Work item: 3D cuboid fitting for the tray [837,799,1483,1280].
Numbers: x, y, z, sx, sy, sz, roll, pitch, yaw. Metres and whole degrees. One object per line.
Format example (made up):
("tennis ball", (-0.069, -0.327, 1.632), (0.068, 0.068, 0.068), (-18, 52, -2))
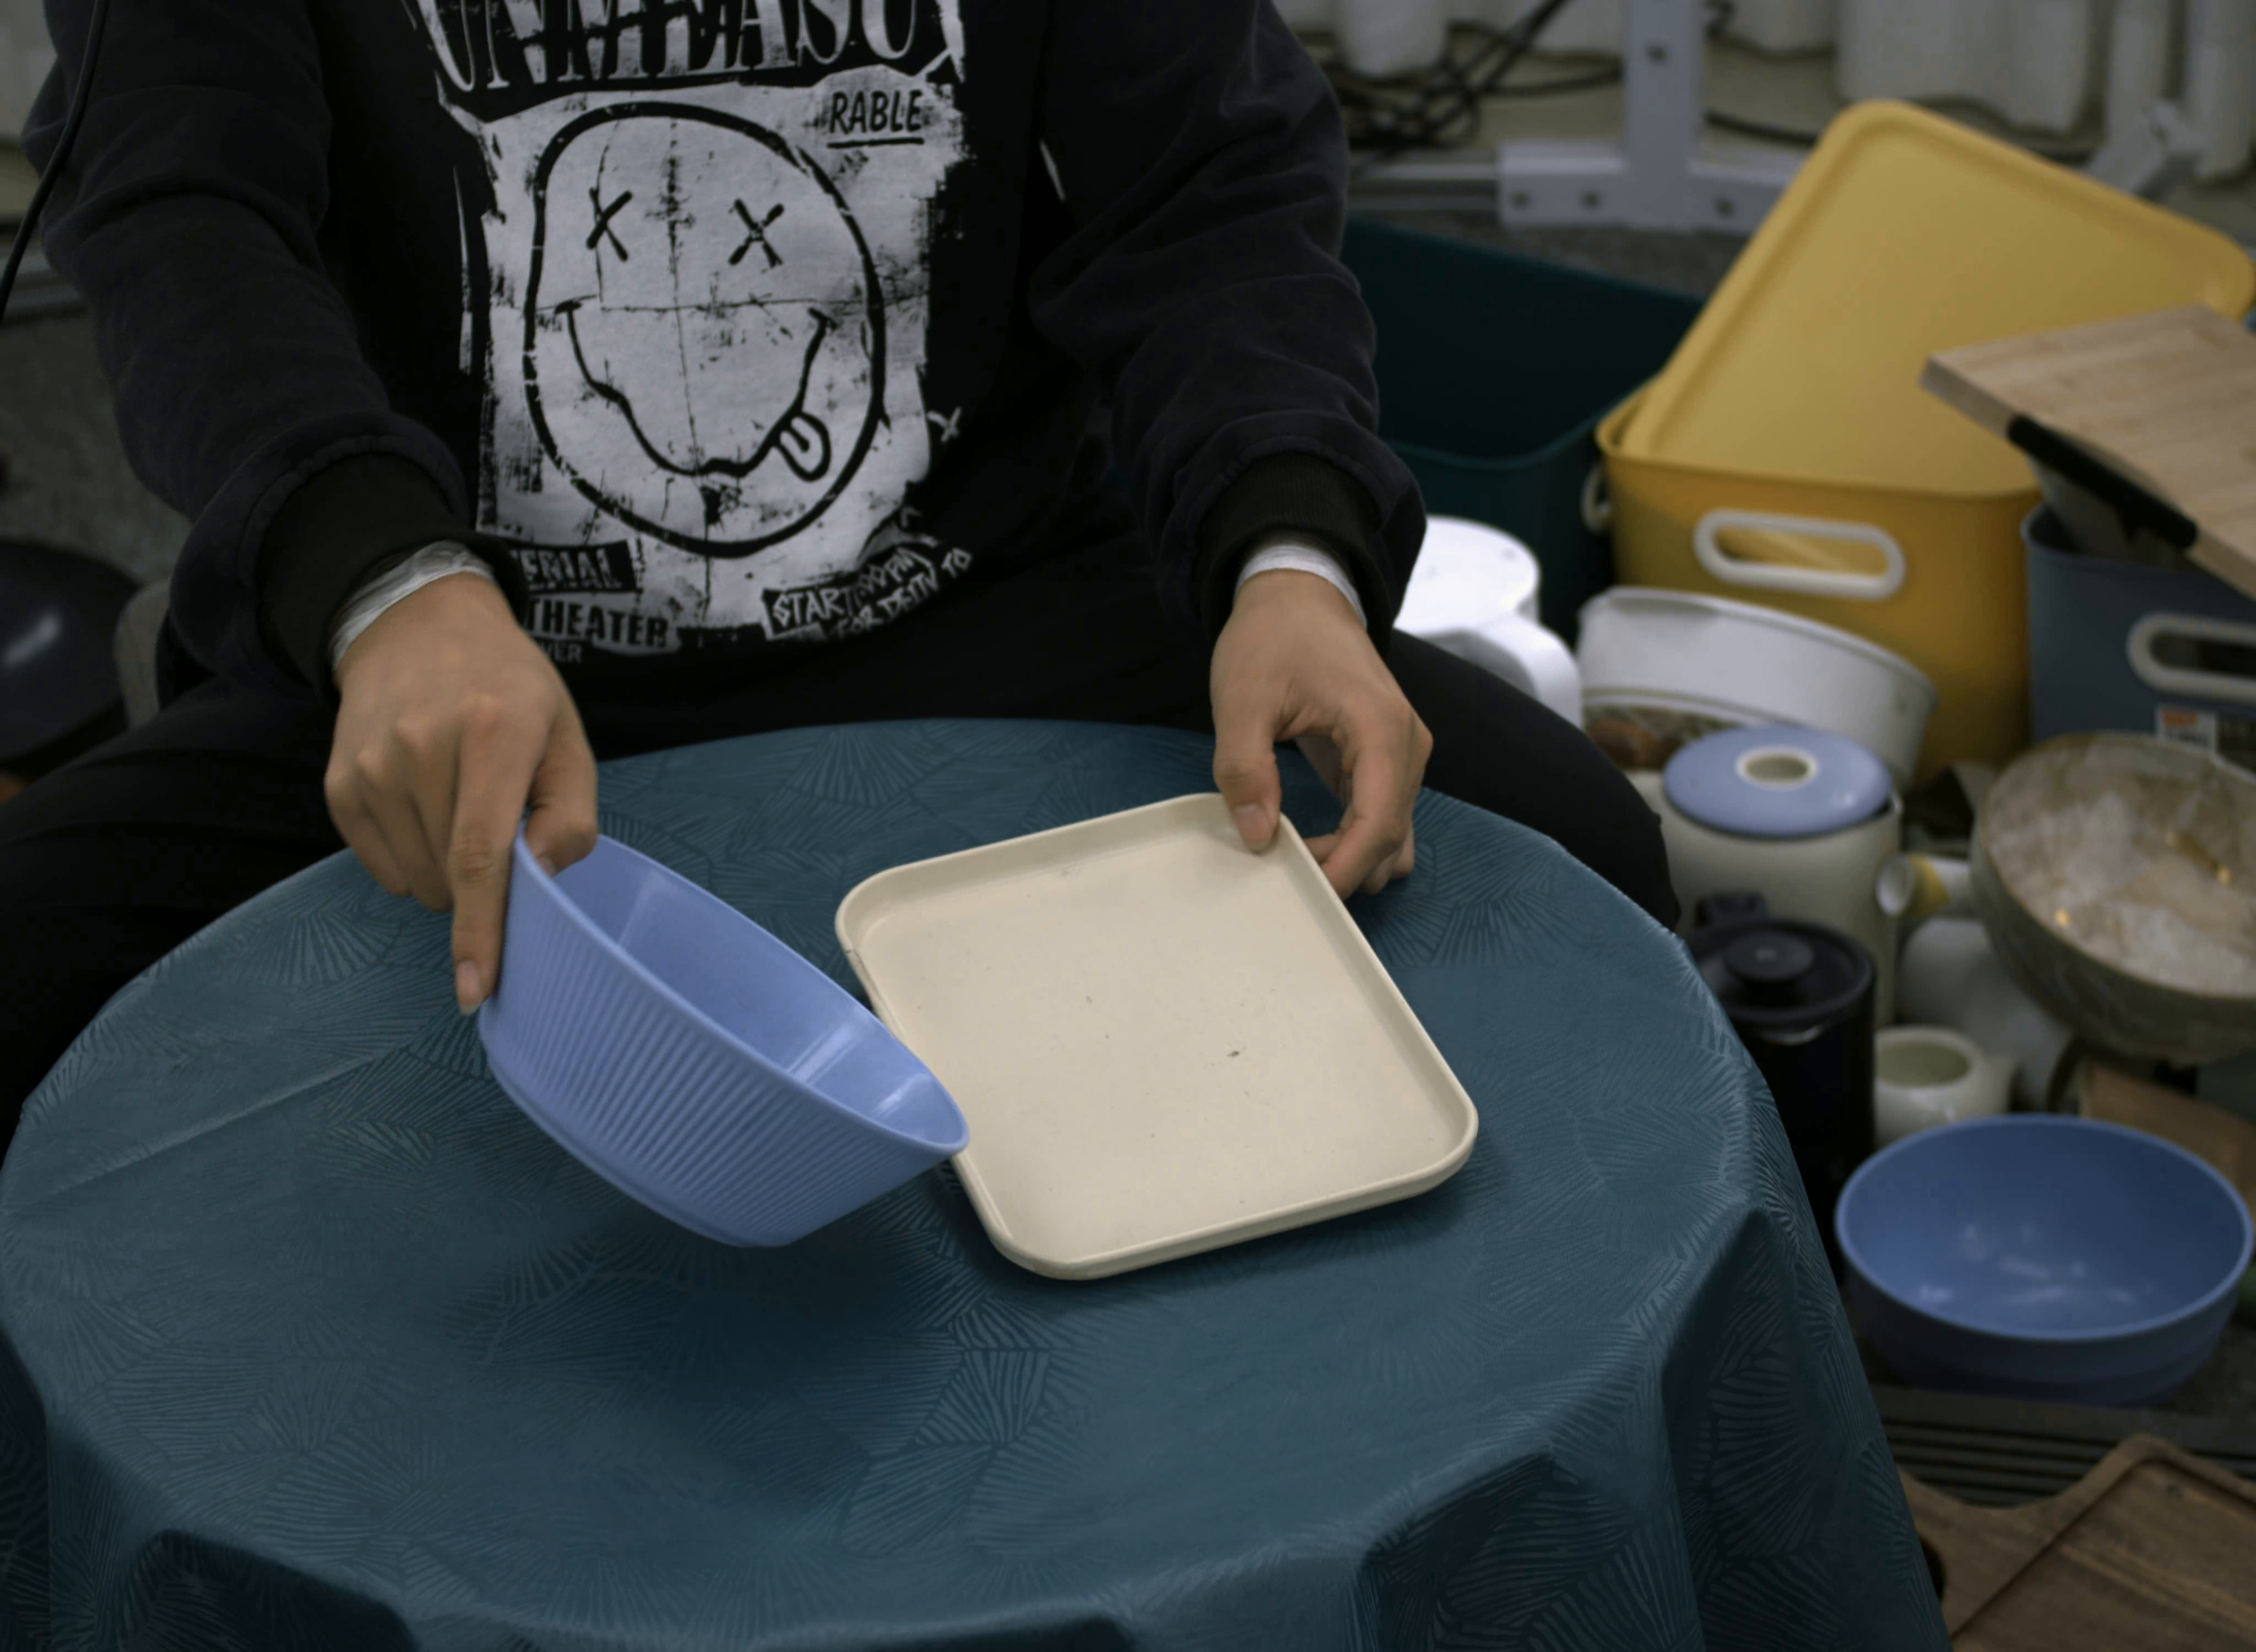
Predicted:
("tray", (0.008, 0.071, 1.912), (0.171, 0.017, 0.242), (-12, 34, -14))

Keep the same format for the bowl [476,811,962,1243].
("bowl", (-0.142, 0.073, 1.789), (0.175, 0.070, 0.177), (36, 7, -4))
